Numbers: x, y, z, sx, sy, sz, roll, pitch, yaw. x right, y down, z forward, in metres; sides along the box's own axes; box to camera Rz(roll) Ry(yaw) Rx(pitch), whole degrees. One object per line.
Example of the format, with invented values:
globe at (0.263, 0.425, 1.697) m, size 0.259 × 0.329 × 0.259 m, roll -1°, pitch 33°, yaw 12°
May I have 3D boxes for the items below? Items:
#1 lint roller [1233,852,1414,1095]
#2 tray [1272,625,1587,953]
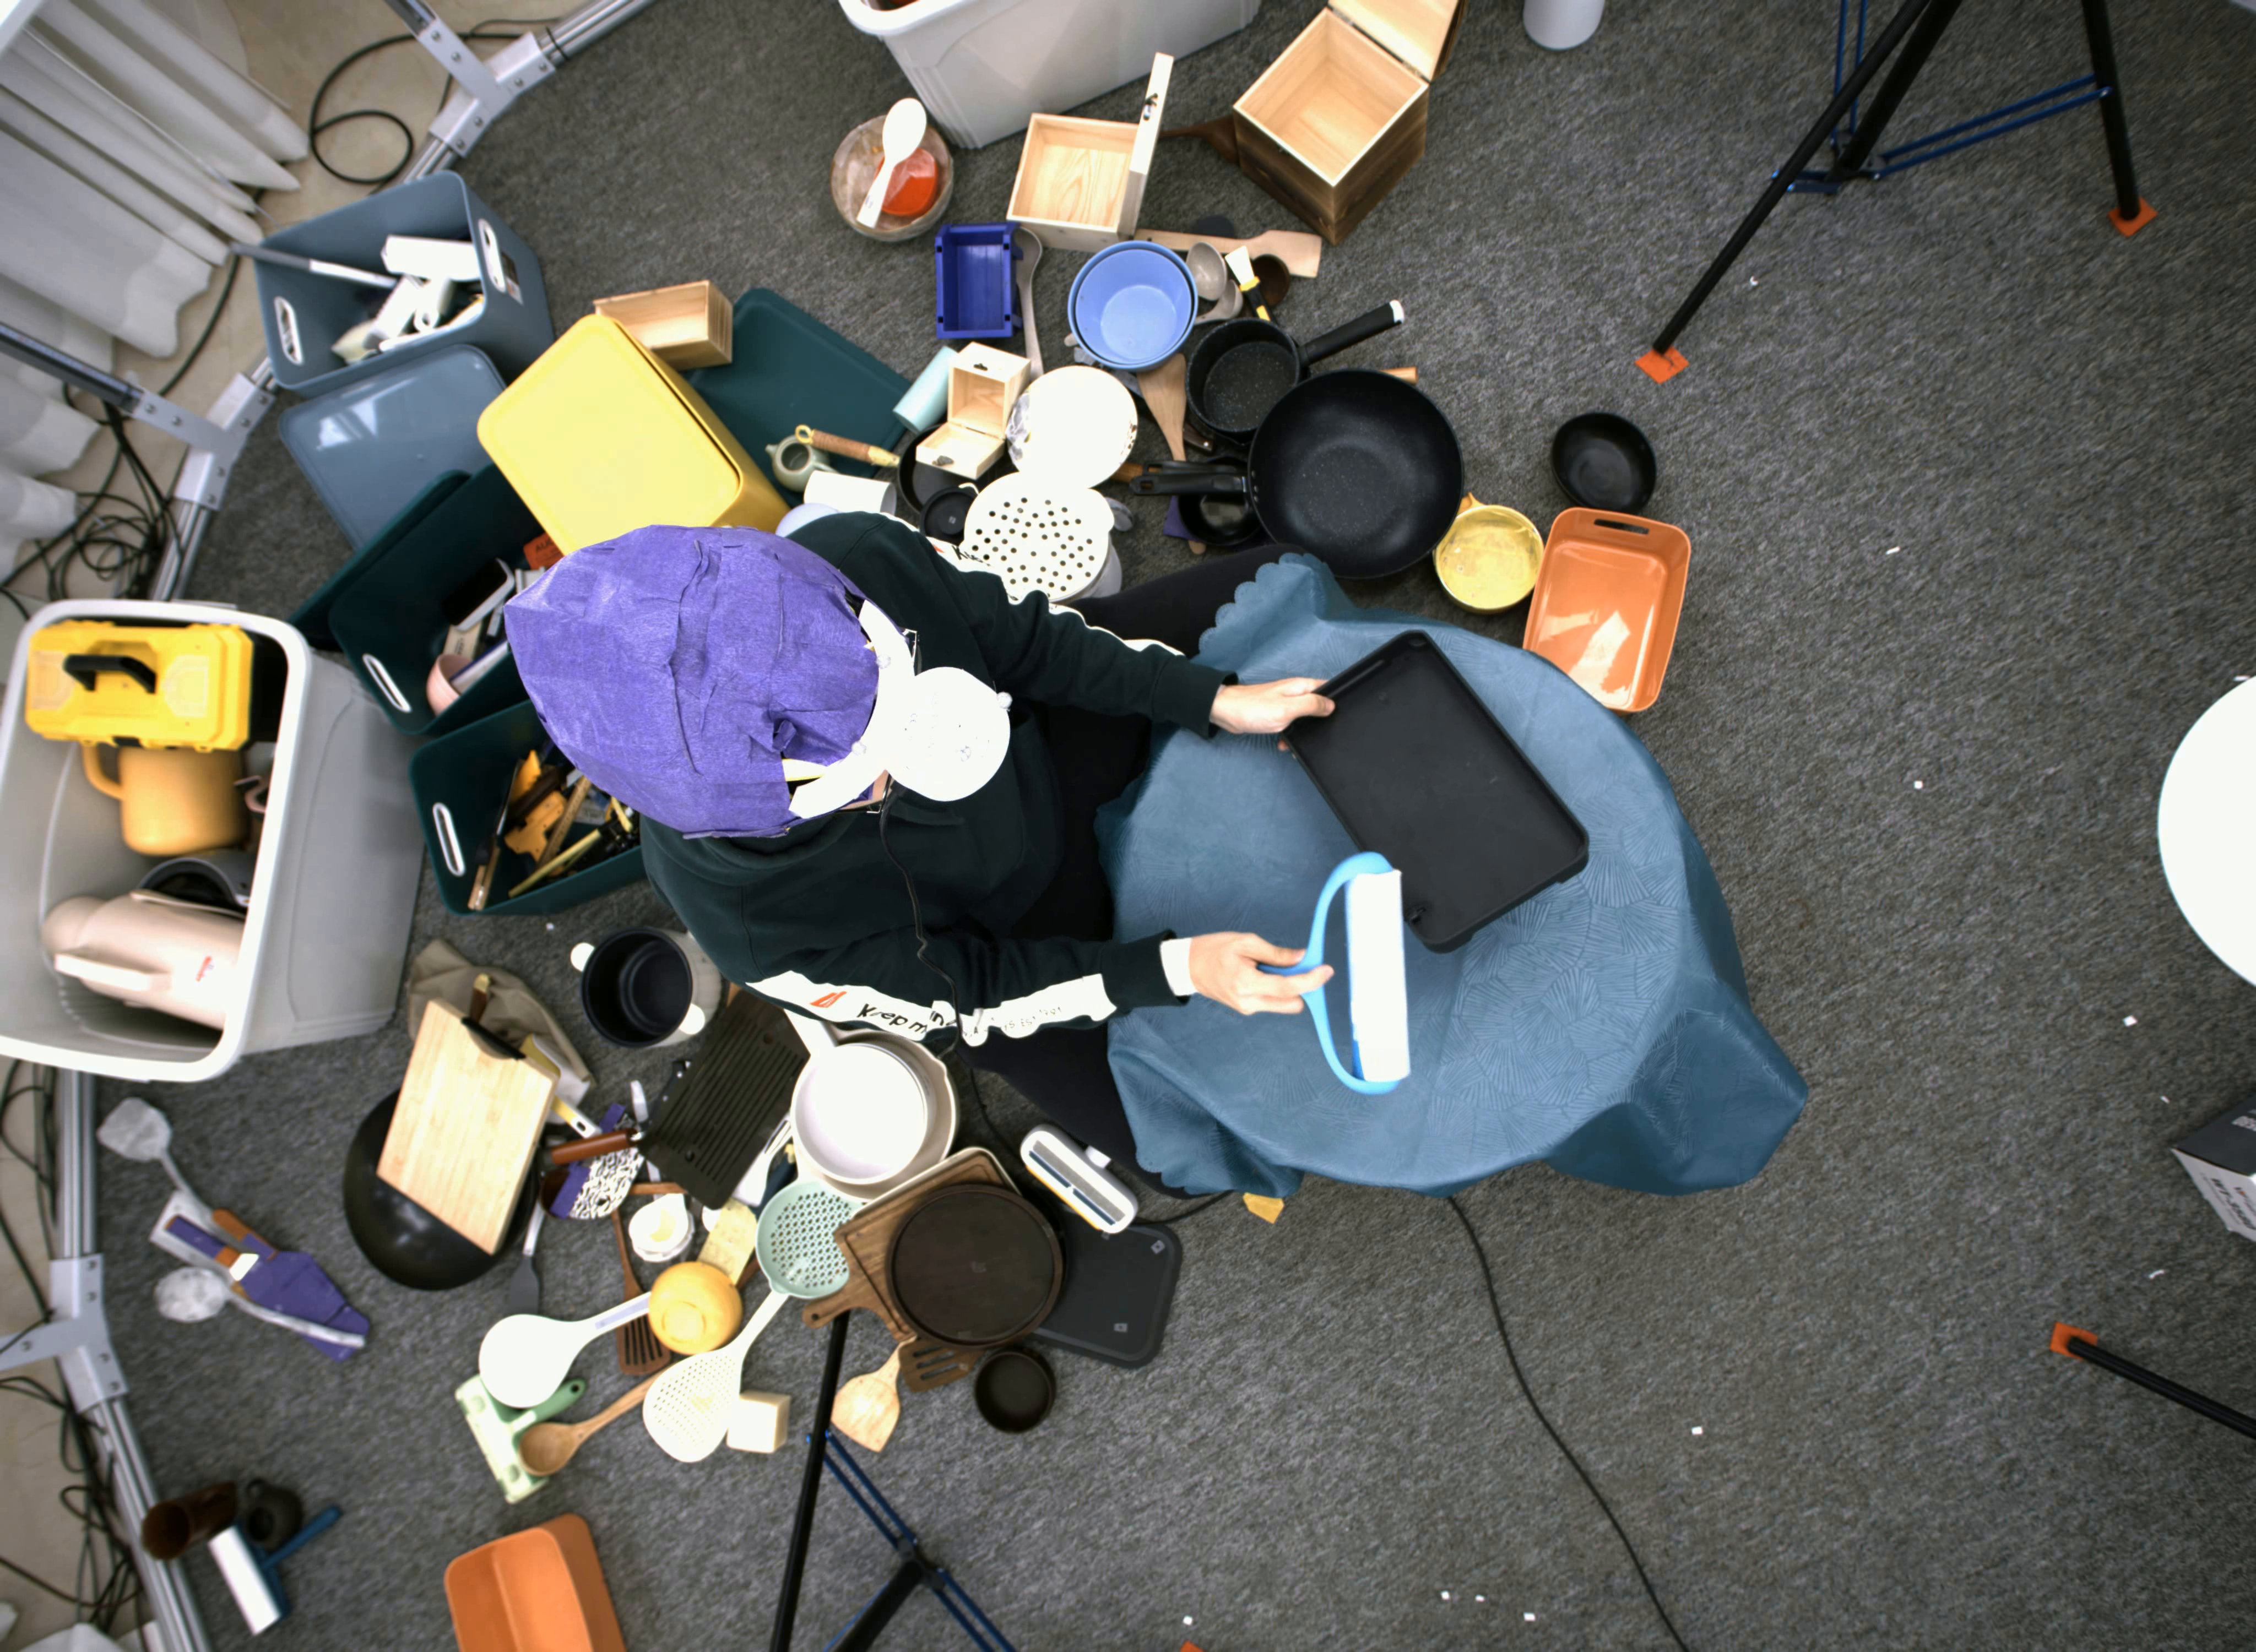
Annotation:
lint roller at (0.178, 0.142, 1.310) m, size 0.181 × 0.067 × 0.230 m, roll -4°, pitch 99°, yaw 22°
tray at (0.290, -0.043, 1.352) m, size 0.185 × 0.037 × 0.312 m, roll -35°, pitch 59°, yaw 8°
